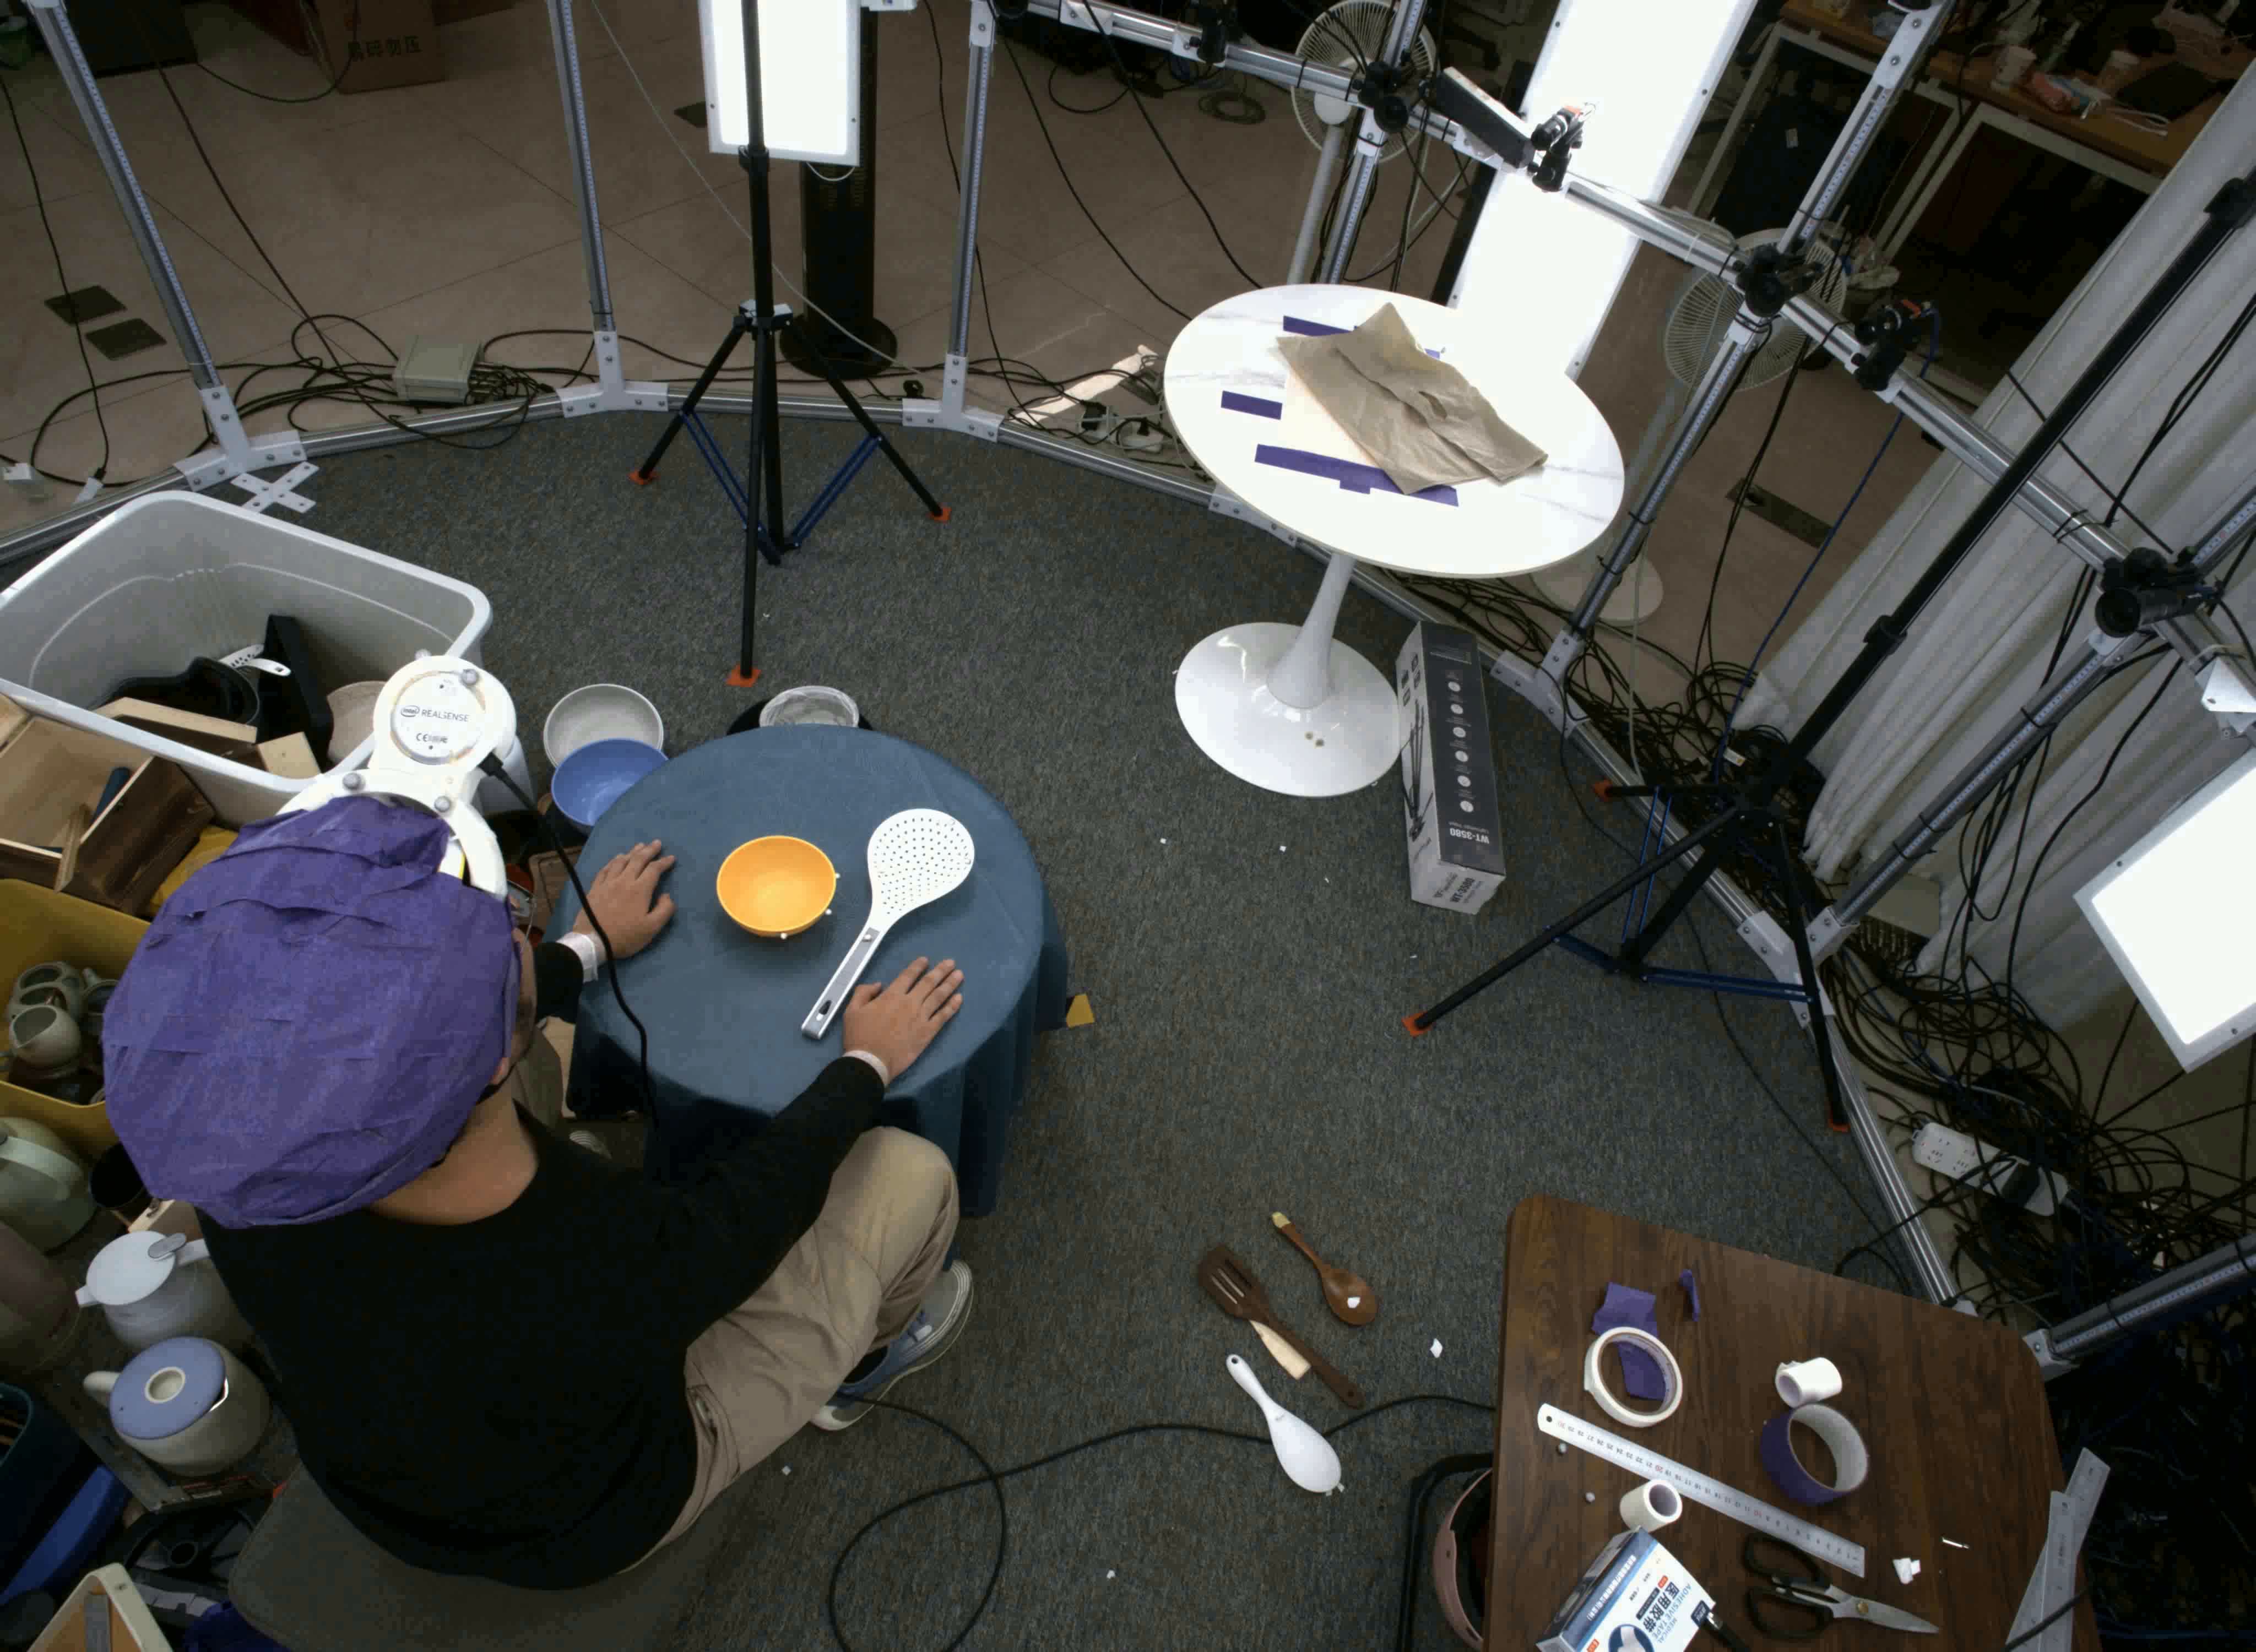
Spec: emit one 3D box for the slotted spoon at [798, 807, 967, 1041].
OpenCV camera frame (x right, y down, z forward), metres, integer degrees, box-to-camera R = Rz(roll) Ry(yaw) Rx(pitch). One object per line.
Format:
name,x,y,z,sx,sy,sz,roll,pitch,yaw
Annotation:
slotted spoon,-0.316,0.117,1.630,0.134,0.046,0.347,23,53,4

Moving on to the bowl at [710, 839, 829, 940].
bowl,-0.444,0.088,1.611,0.145,0.061,0.142,8,50,-8
